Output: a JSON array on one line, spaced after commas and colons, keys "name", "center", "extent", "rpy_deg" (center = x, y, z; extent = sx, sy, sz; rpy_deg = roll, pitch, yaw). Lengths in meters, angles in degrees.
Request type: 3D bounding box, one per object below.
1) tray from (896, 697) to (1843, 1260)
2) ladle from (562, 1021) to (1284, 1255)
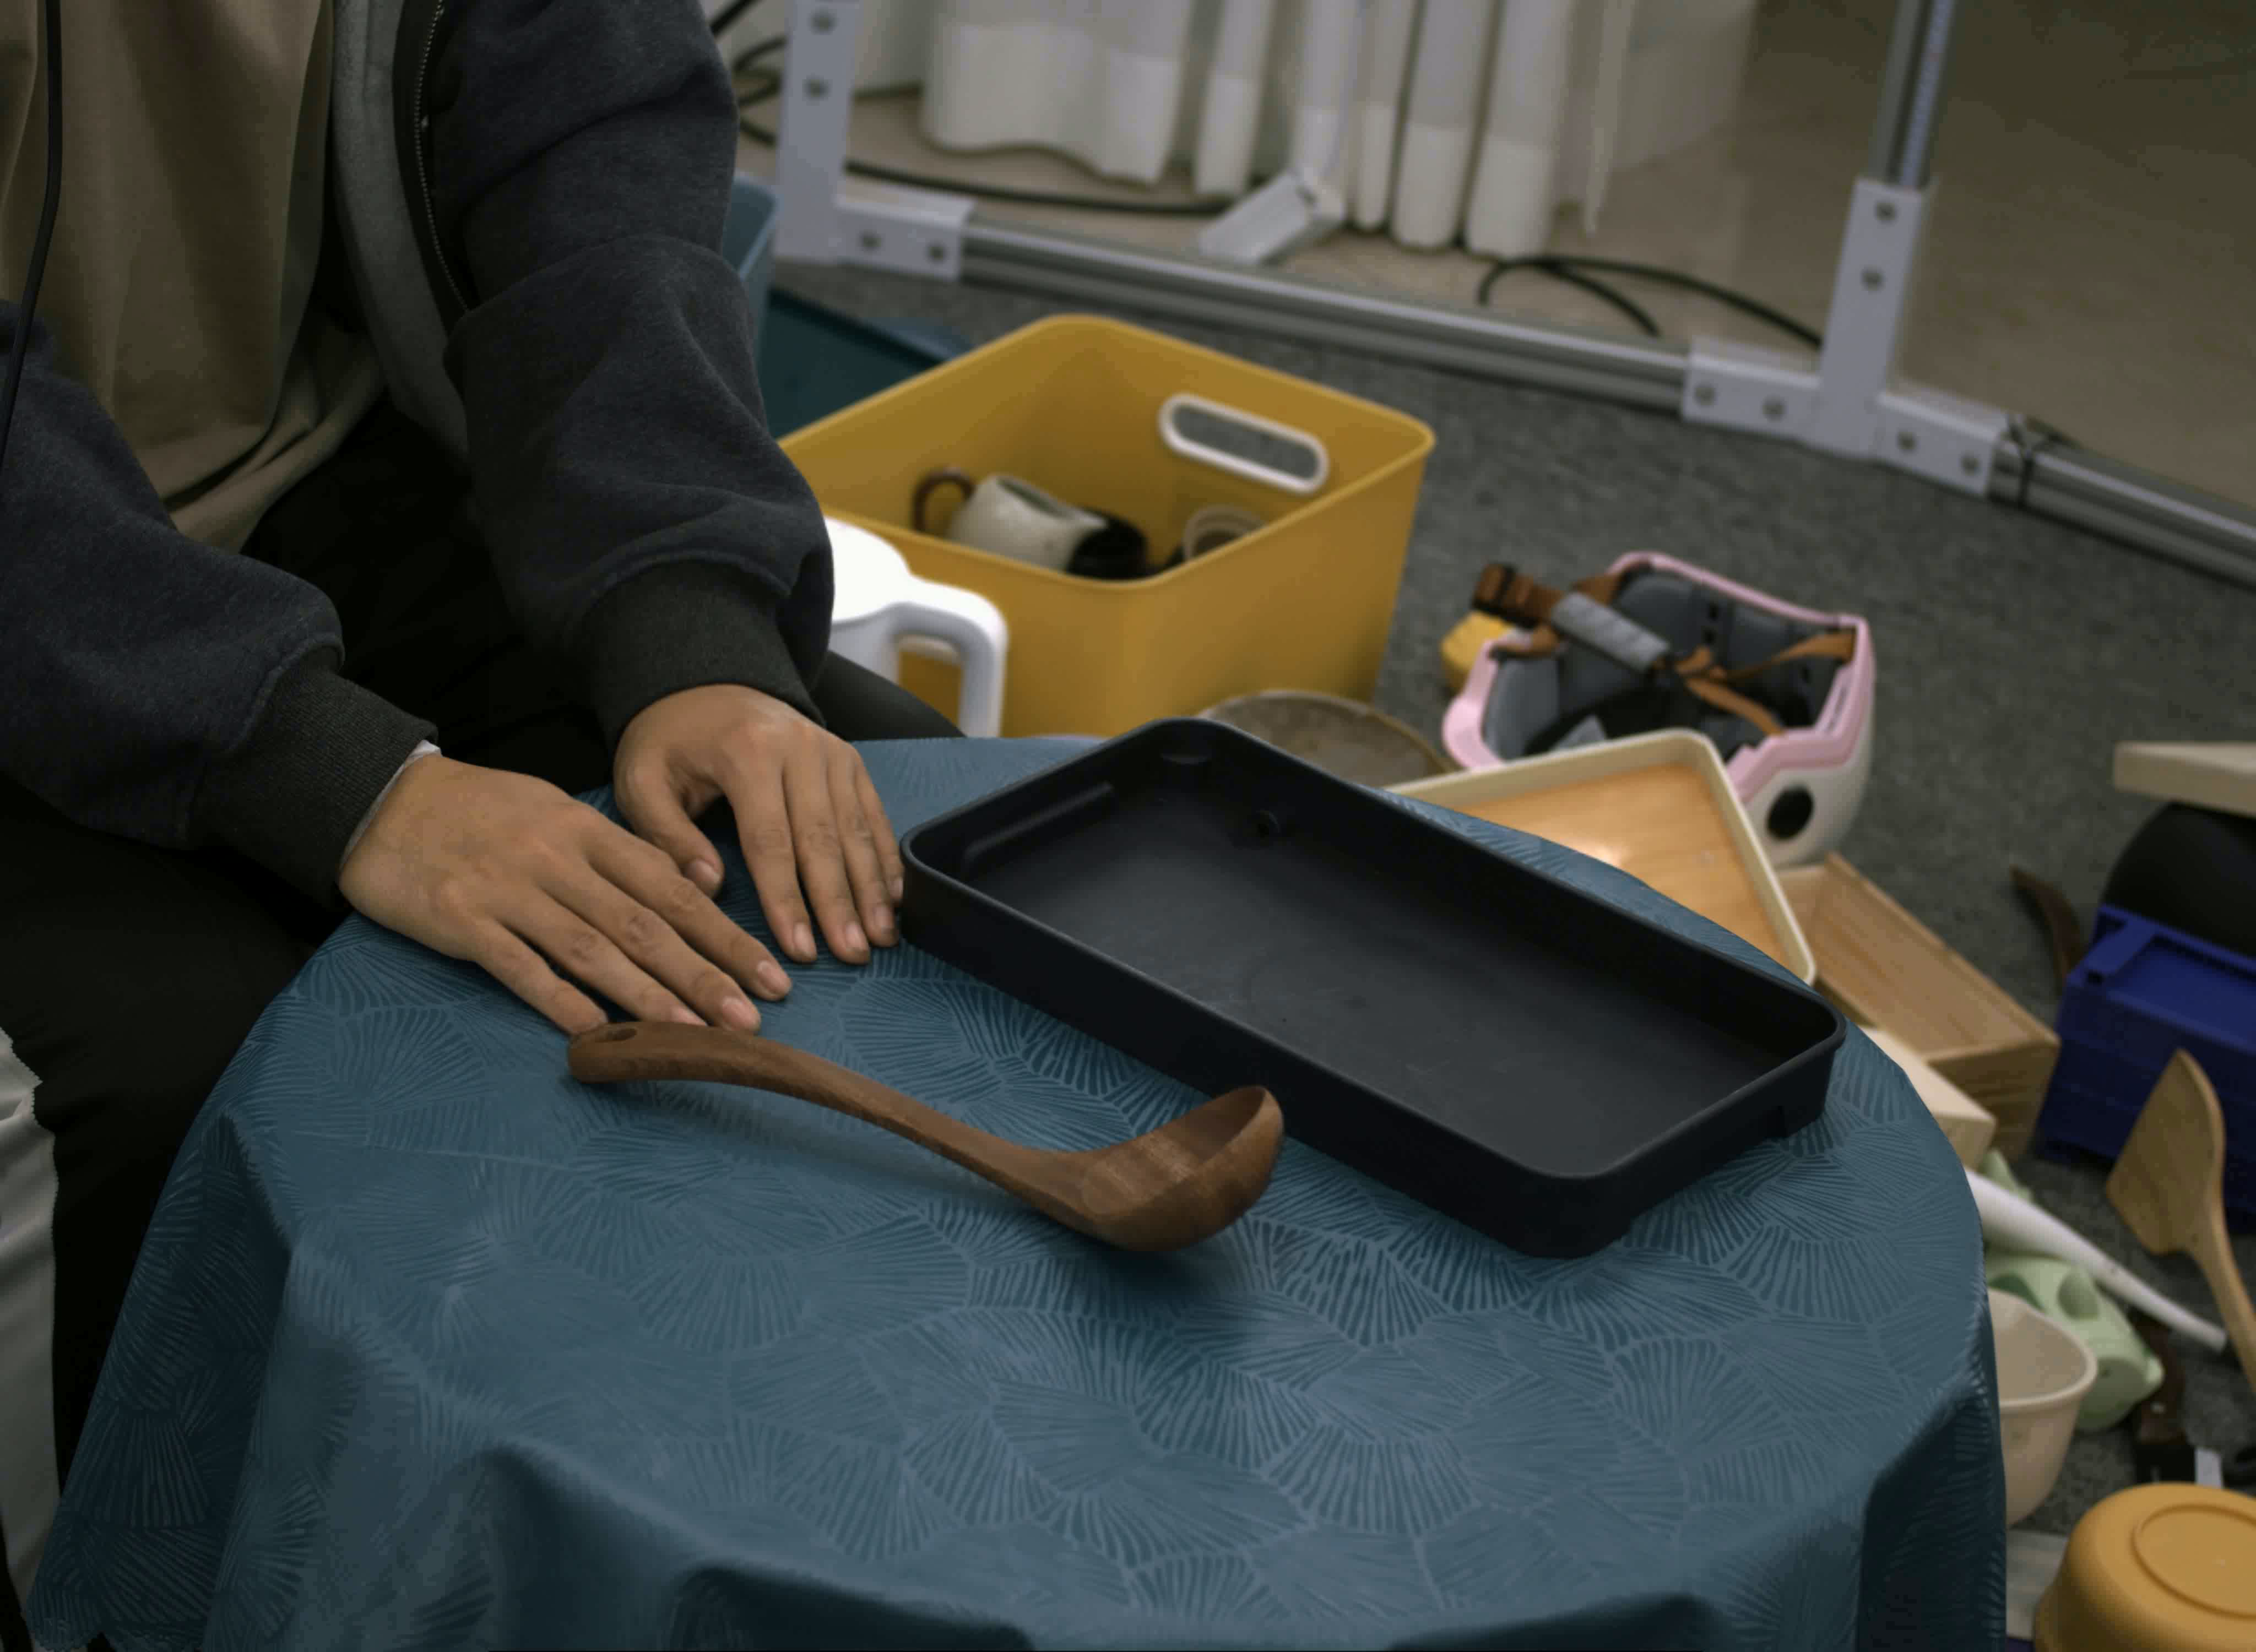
[{"name": "tray", "center": [0.083, 0.049, 1.920], "extent": [0.320, 0.037, 0.183], "rpy_deg": [27, 33, 32]}, {"name": "ladle", "center": [-0.072, 0.088, 1.784], "extent": [0.261, 0.065, 0.076], "rpy_deg": [16, 29, 18]}]
